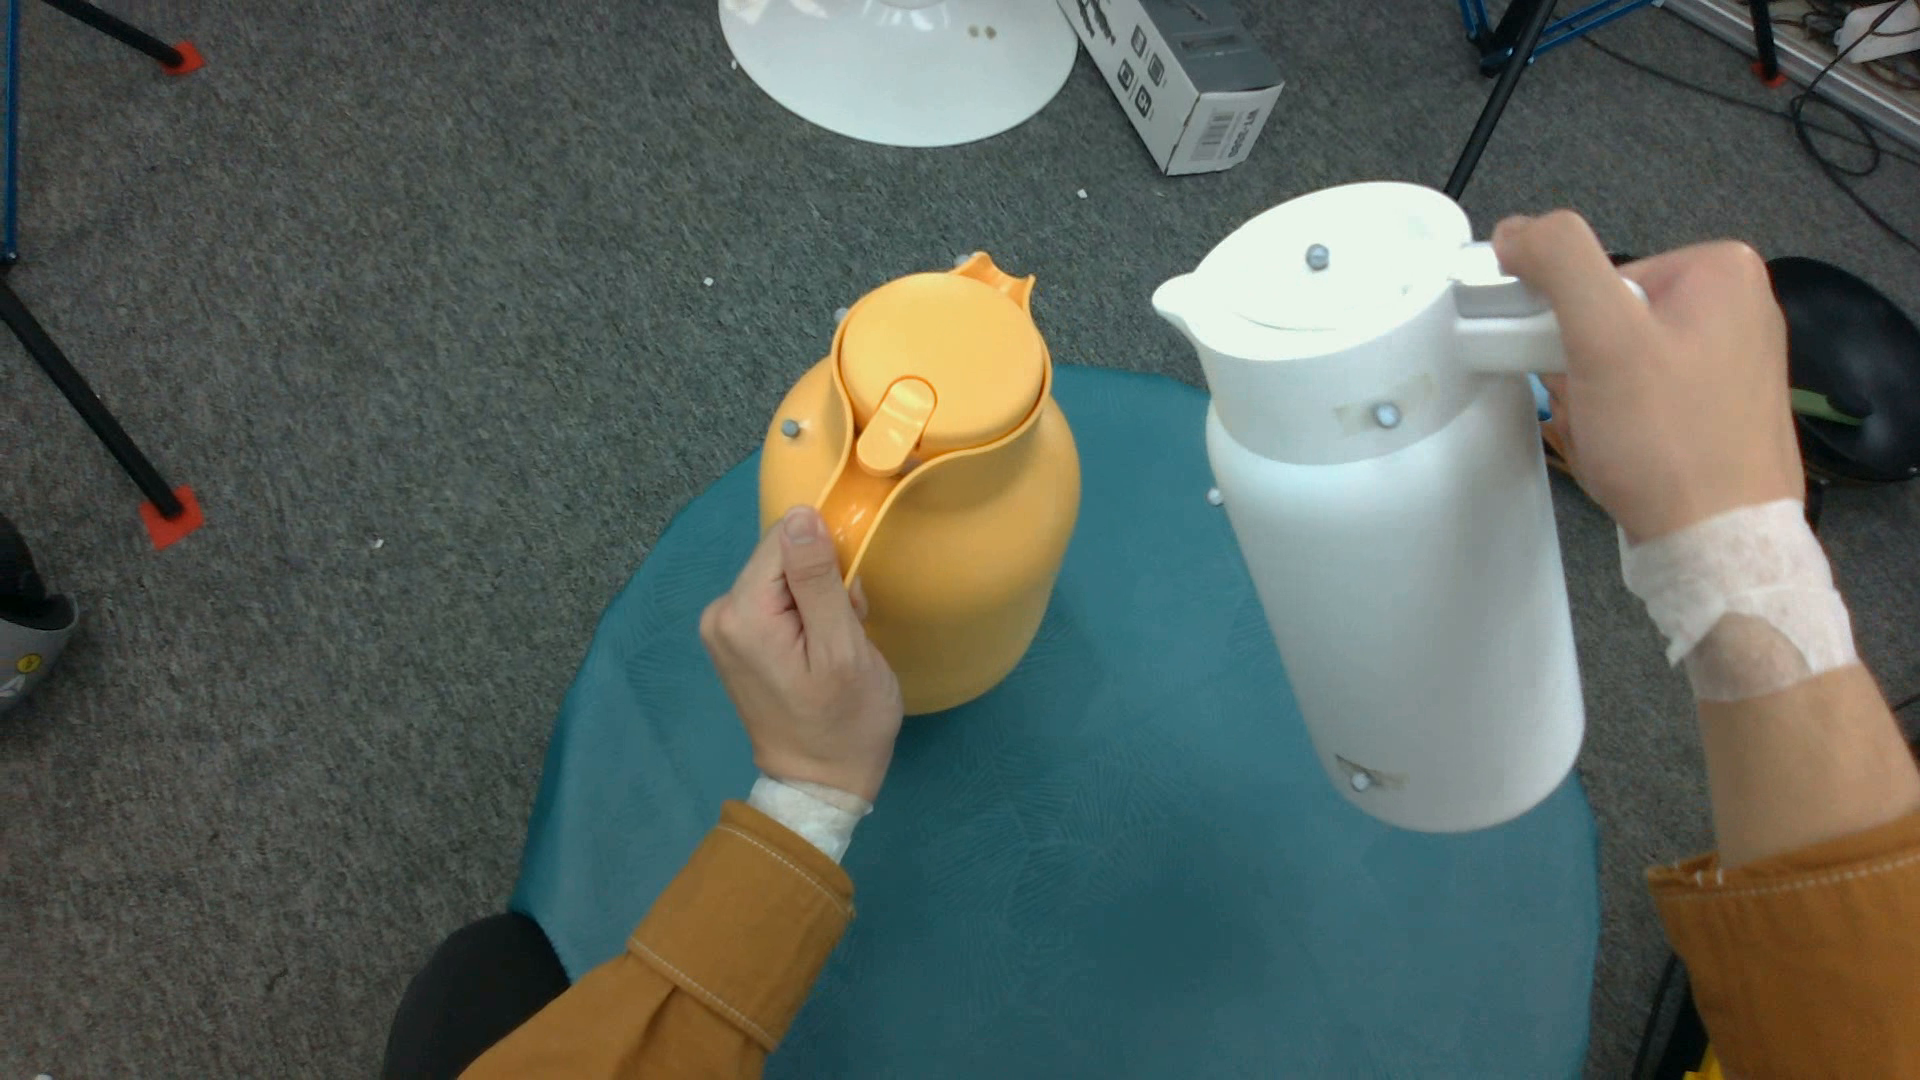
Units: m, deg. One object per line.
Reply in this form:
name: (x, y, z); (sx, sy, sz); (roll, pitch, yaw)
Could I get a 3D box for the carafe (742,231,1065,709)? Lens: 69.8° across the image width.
carafe: (-0.040, -0.017, 0.686); (0.163, 0.259, 0.203); (27, 60, 10)

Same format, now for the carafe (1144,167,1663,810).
carafe: (0.184, -0.009, 0.550); (0.172, 0.268, 0.124); (8, 49, 35)
